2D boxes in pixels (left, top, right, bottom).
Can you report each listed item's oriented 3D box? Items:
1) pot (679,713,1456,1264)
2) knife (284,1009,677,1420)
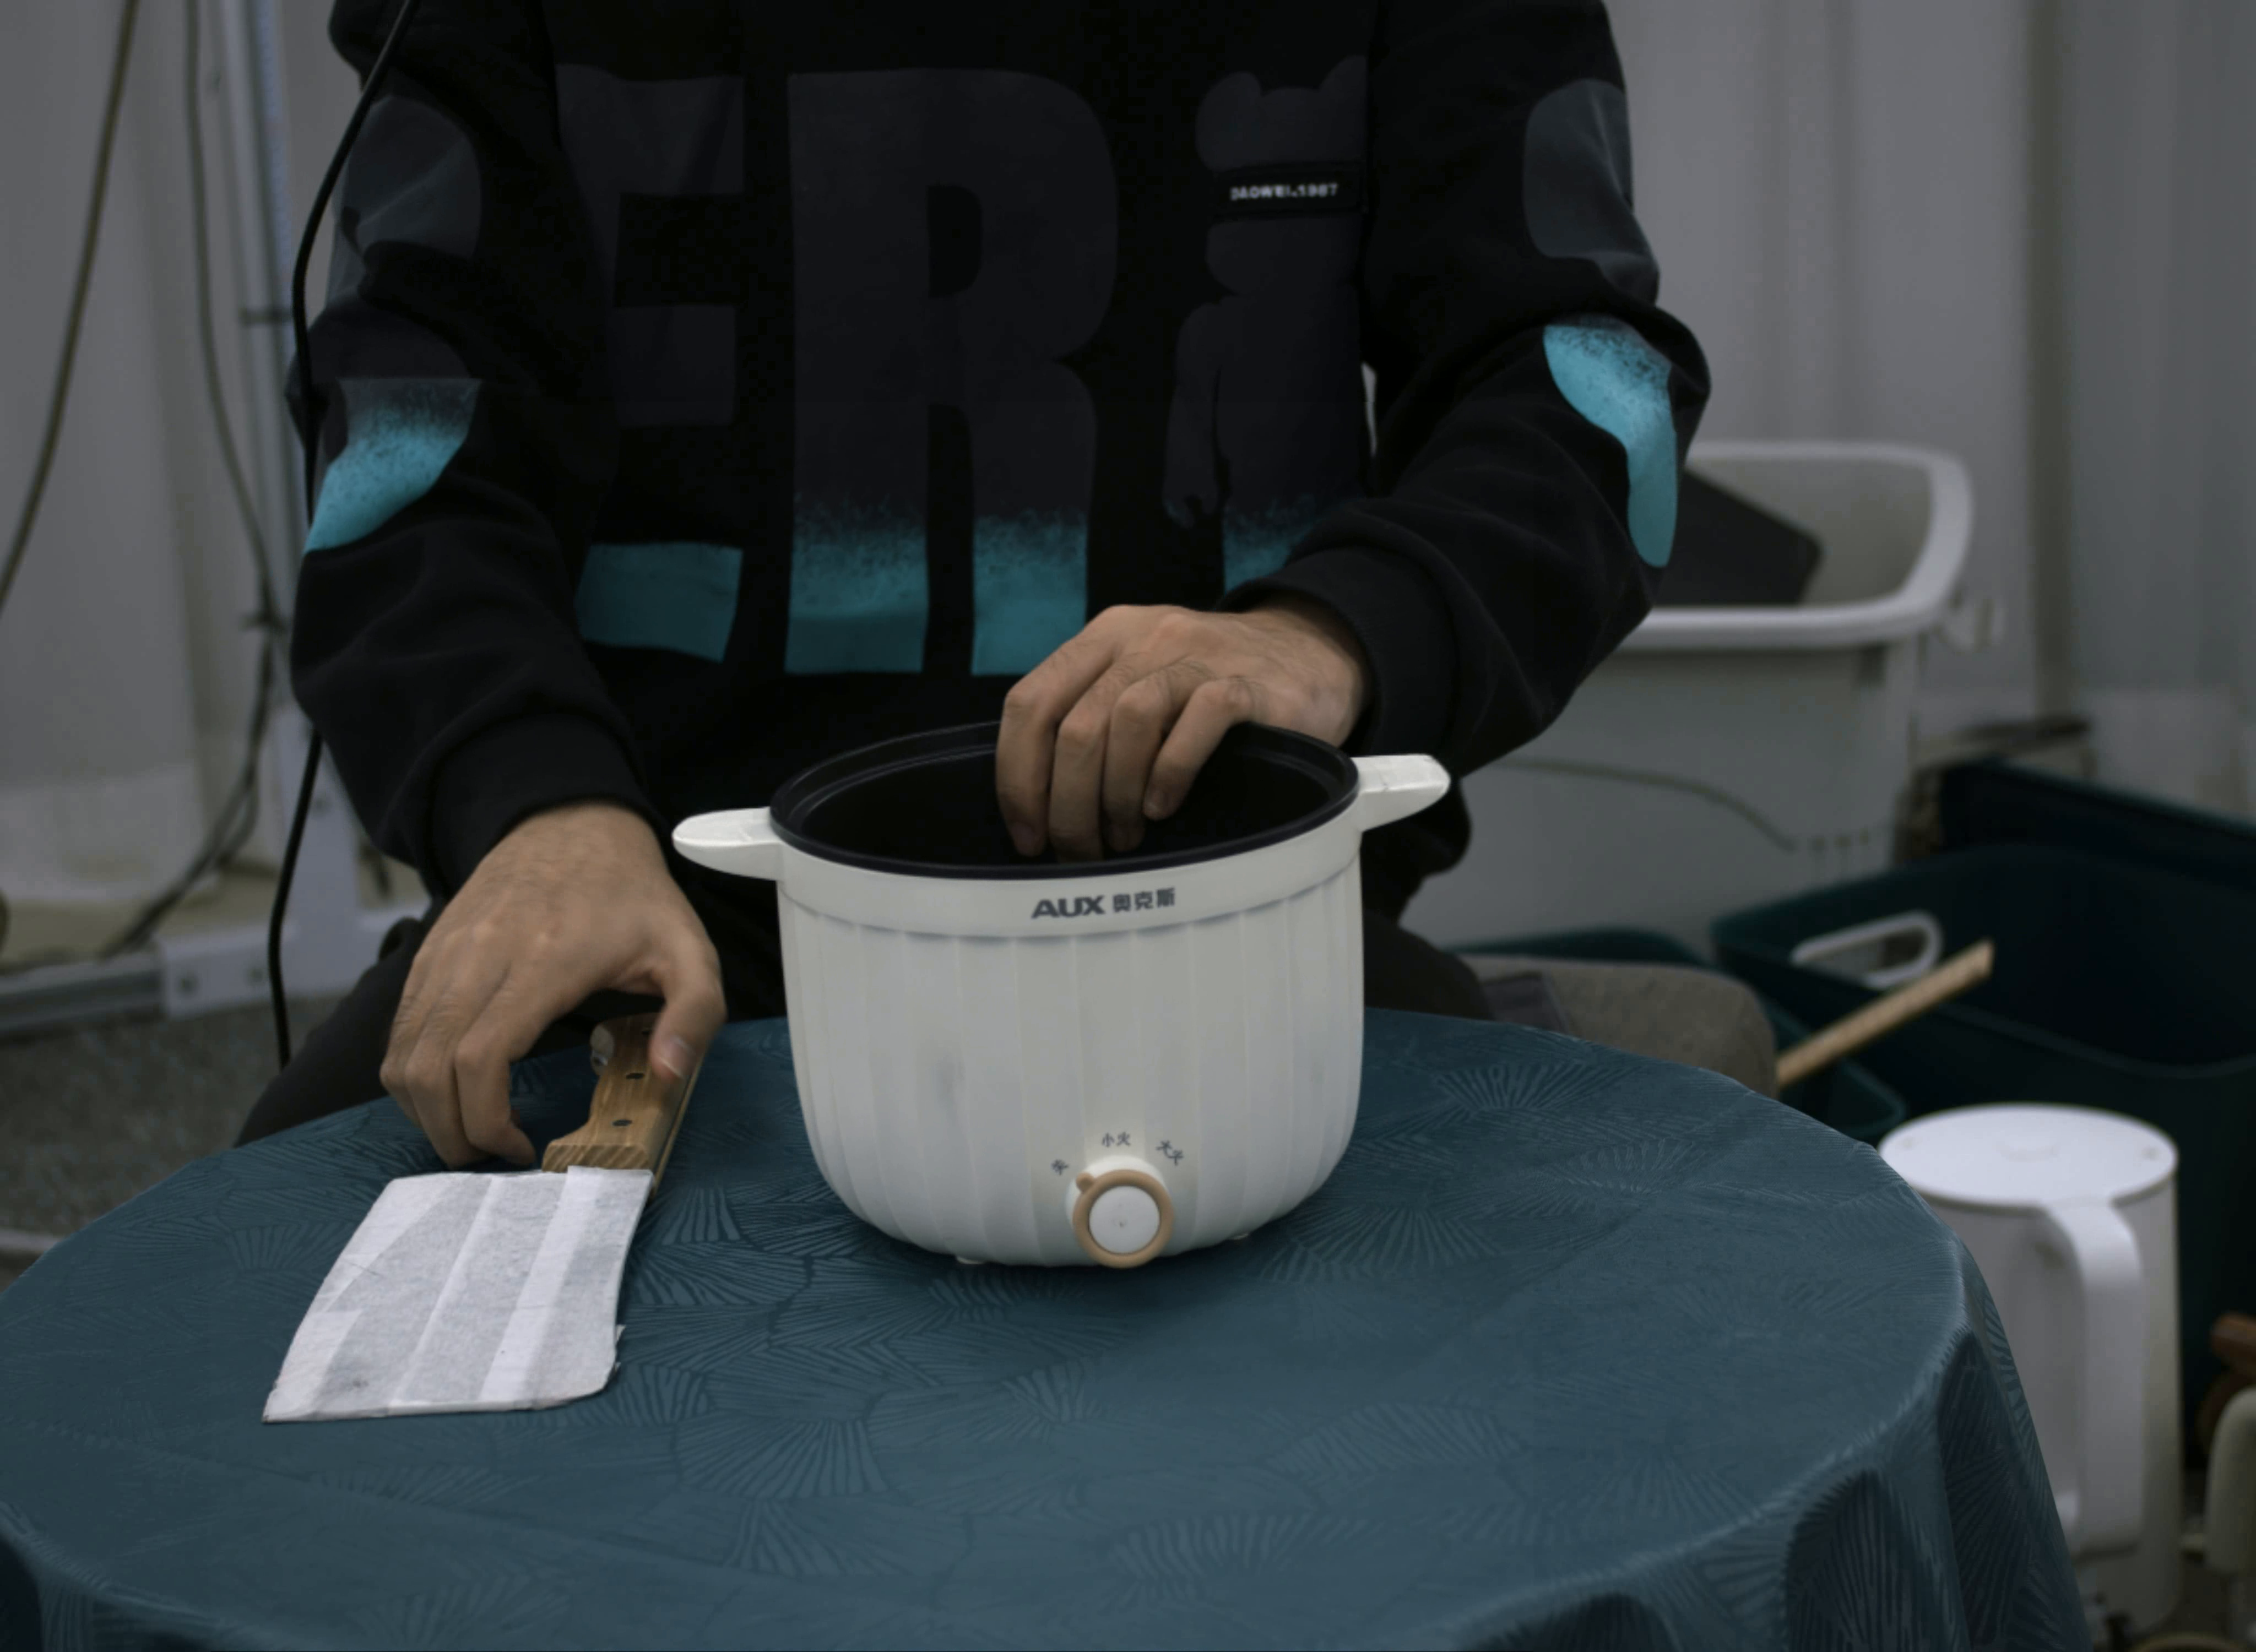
[{"bbox_3d":[-0.012,0.053,1.681,0.239,0.142,0.191,-6,12,-6],"label":"pot"},{"bbox_3d":[-0.183,0.120,1.698,0.114,0.021,0.317,-1,18,8],"label":"knife"}]
